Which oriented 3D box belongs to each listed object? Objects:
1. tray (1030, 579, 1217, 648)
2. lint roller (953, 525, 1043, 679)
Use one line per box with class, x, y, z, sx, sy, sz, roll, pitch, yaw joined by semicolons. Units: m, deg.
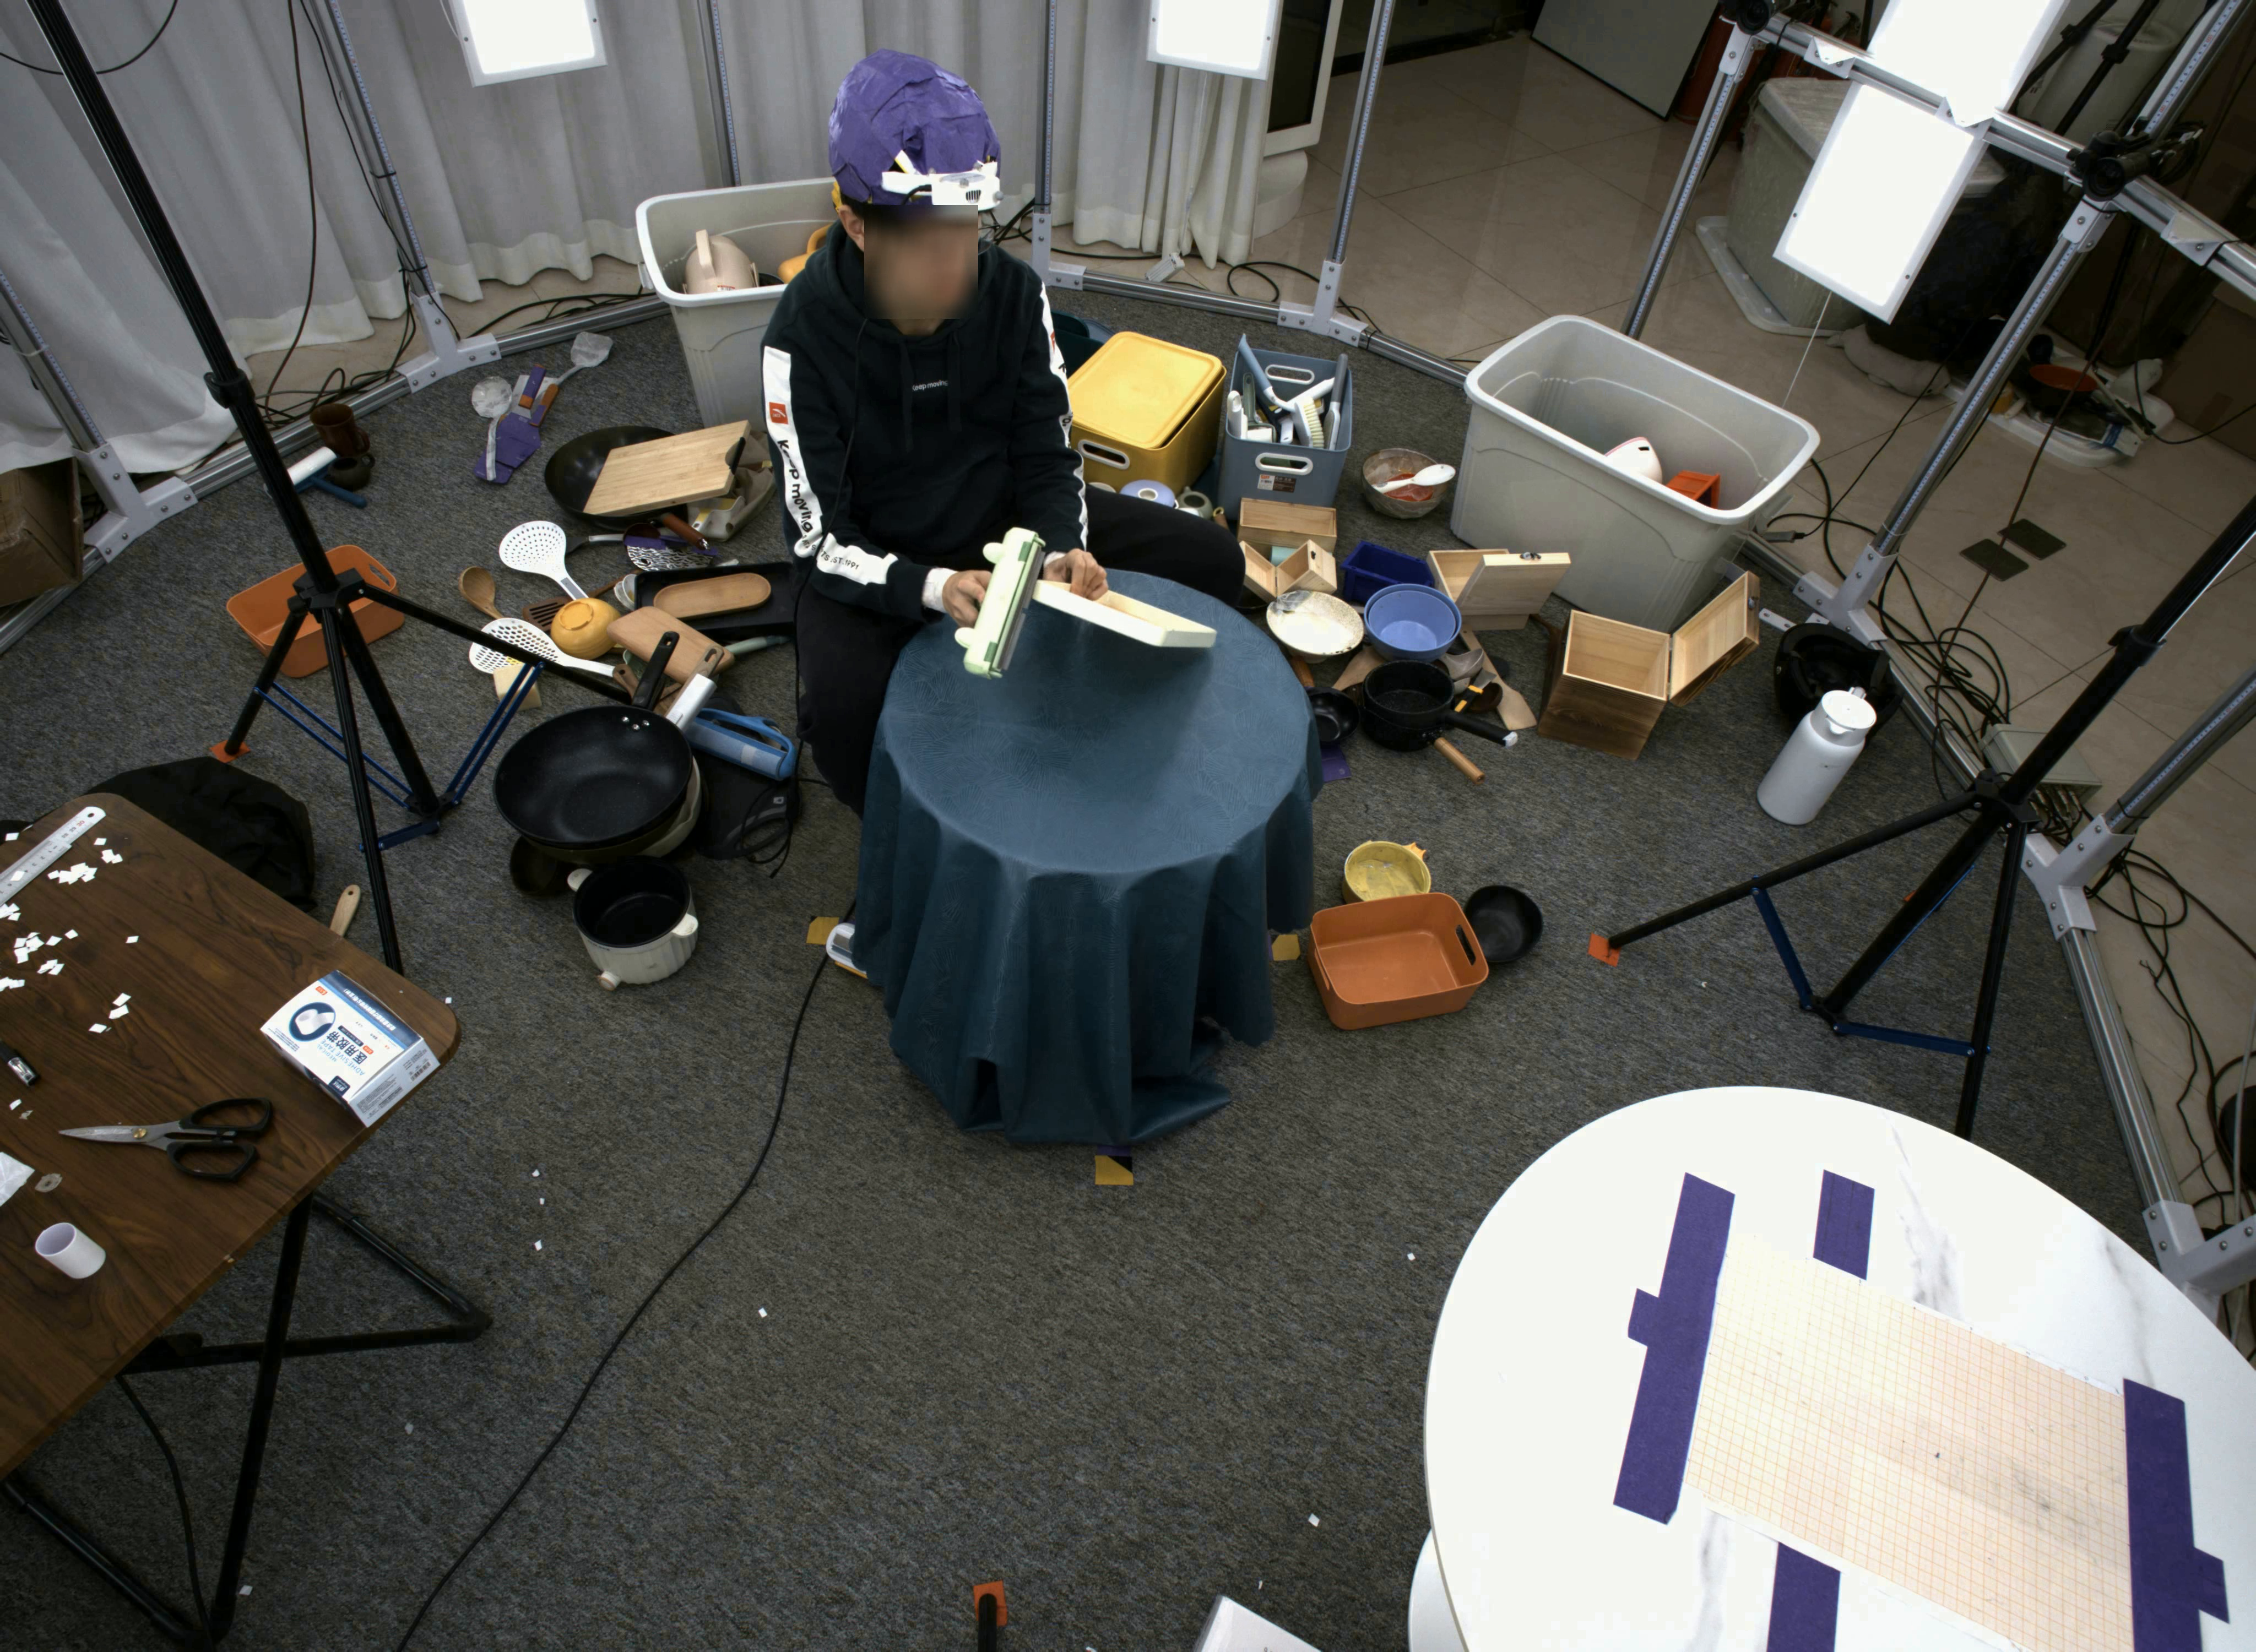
tray;0.001;-0.290;1.778;0.193;0.027;0.301;23;13;15
lint roller;-0.194;-0.300;1.710;0.081;0.199;0.185;18;0;-32
